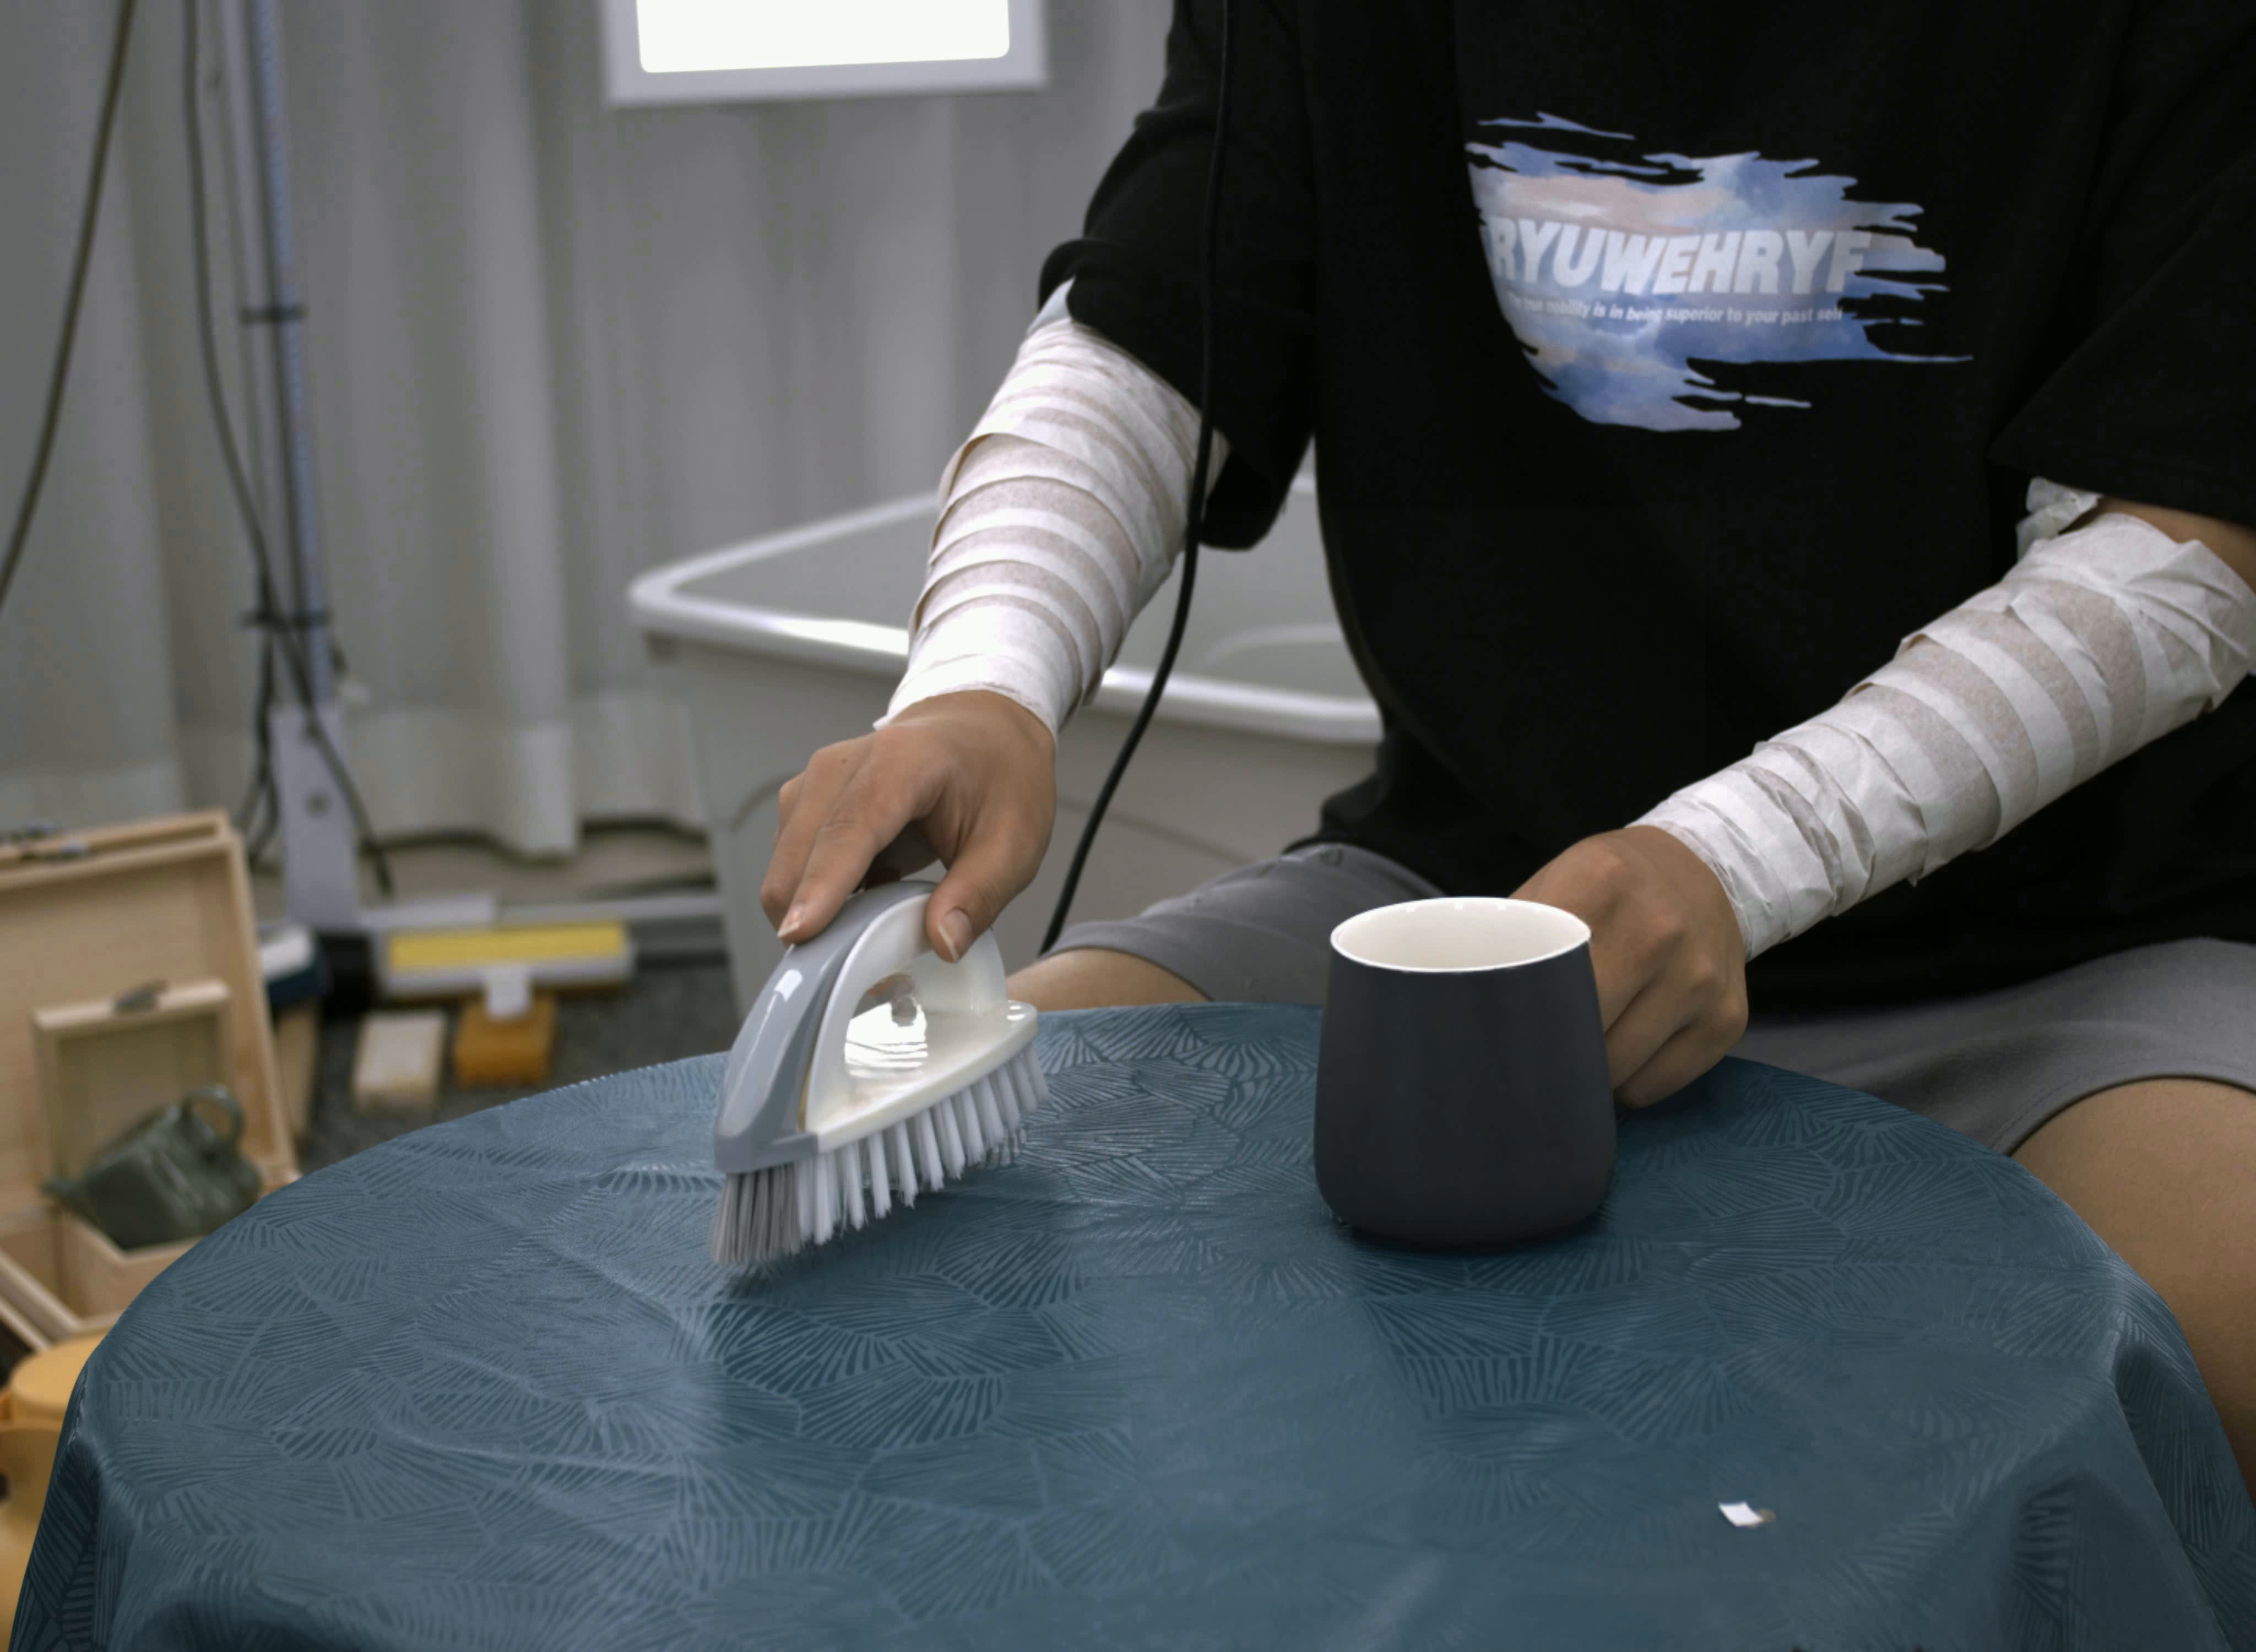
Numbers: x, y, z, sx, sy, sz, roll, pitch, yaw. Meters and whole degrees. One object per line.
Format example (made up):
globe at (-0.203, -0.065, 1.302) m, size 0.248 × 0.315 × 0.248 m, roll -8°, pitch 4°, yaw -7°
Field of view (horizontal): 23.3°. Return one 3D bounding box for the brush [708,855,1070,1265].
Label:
brush at (-0.083, 0.067, 1.695) m, size 0.061 × 0.094 × 0.176 m, roll 1°, pitch 19°, yaw 29°

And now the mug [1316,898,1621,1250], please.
mug at (0.105, 0.072, 1.681) m, size 0.093 × 0.089 × 0.124 m, roll 0°, pitch 14°, yaw 12°
